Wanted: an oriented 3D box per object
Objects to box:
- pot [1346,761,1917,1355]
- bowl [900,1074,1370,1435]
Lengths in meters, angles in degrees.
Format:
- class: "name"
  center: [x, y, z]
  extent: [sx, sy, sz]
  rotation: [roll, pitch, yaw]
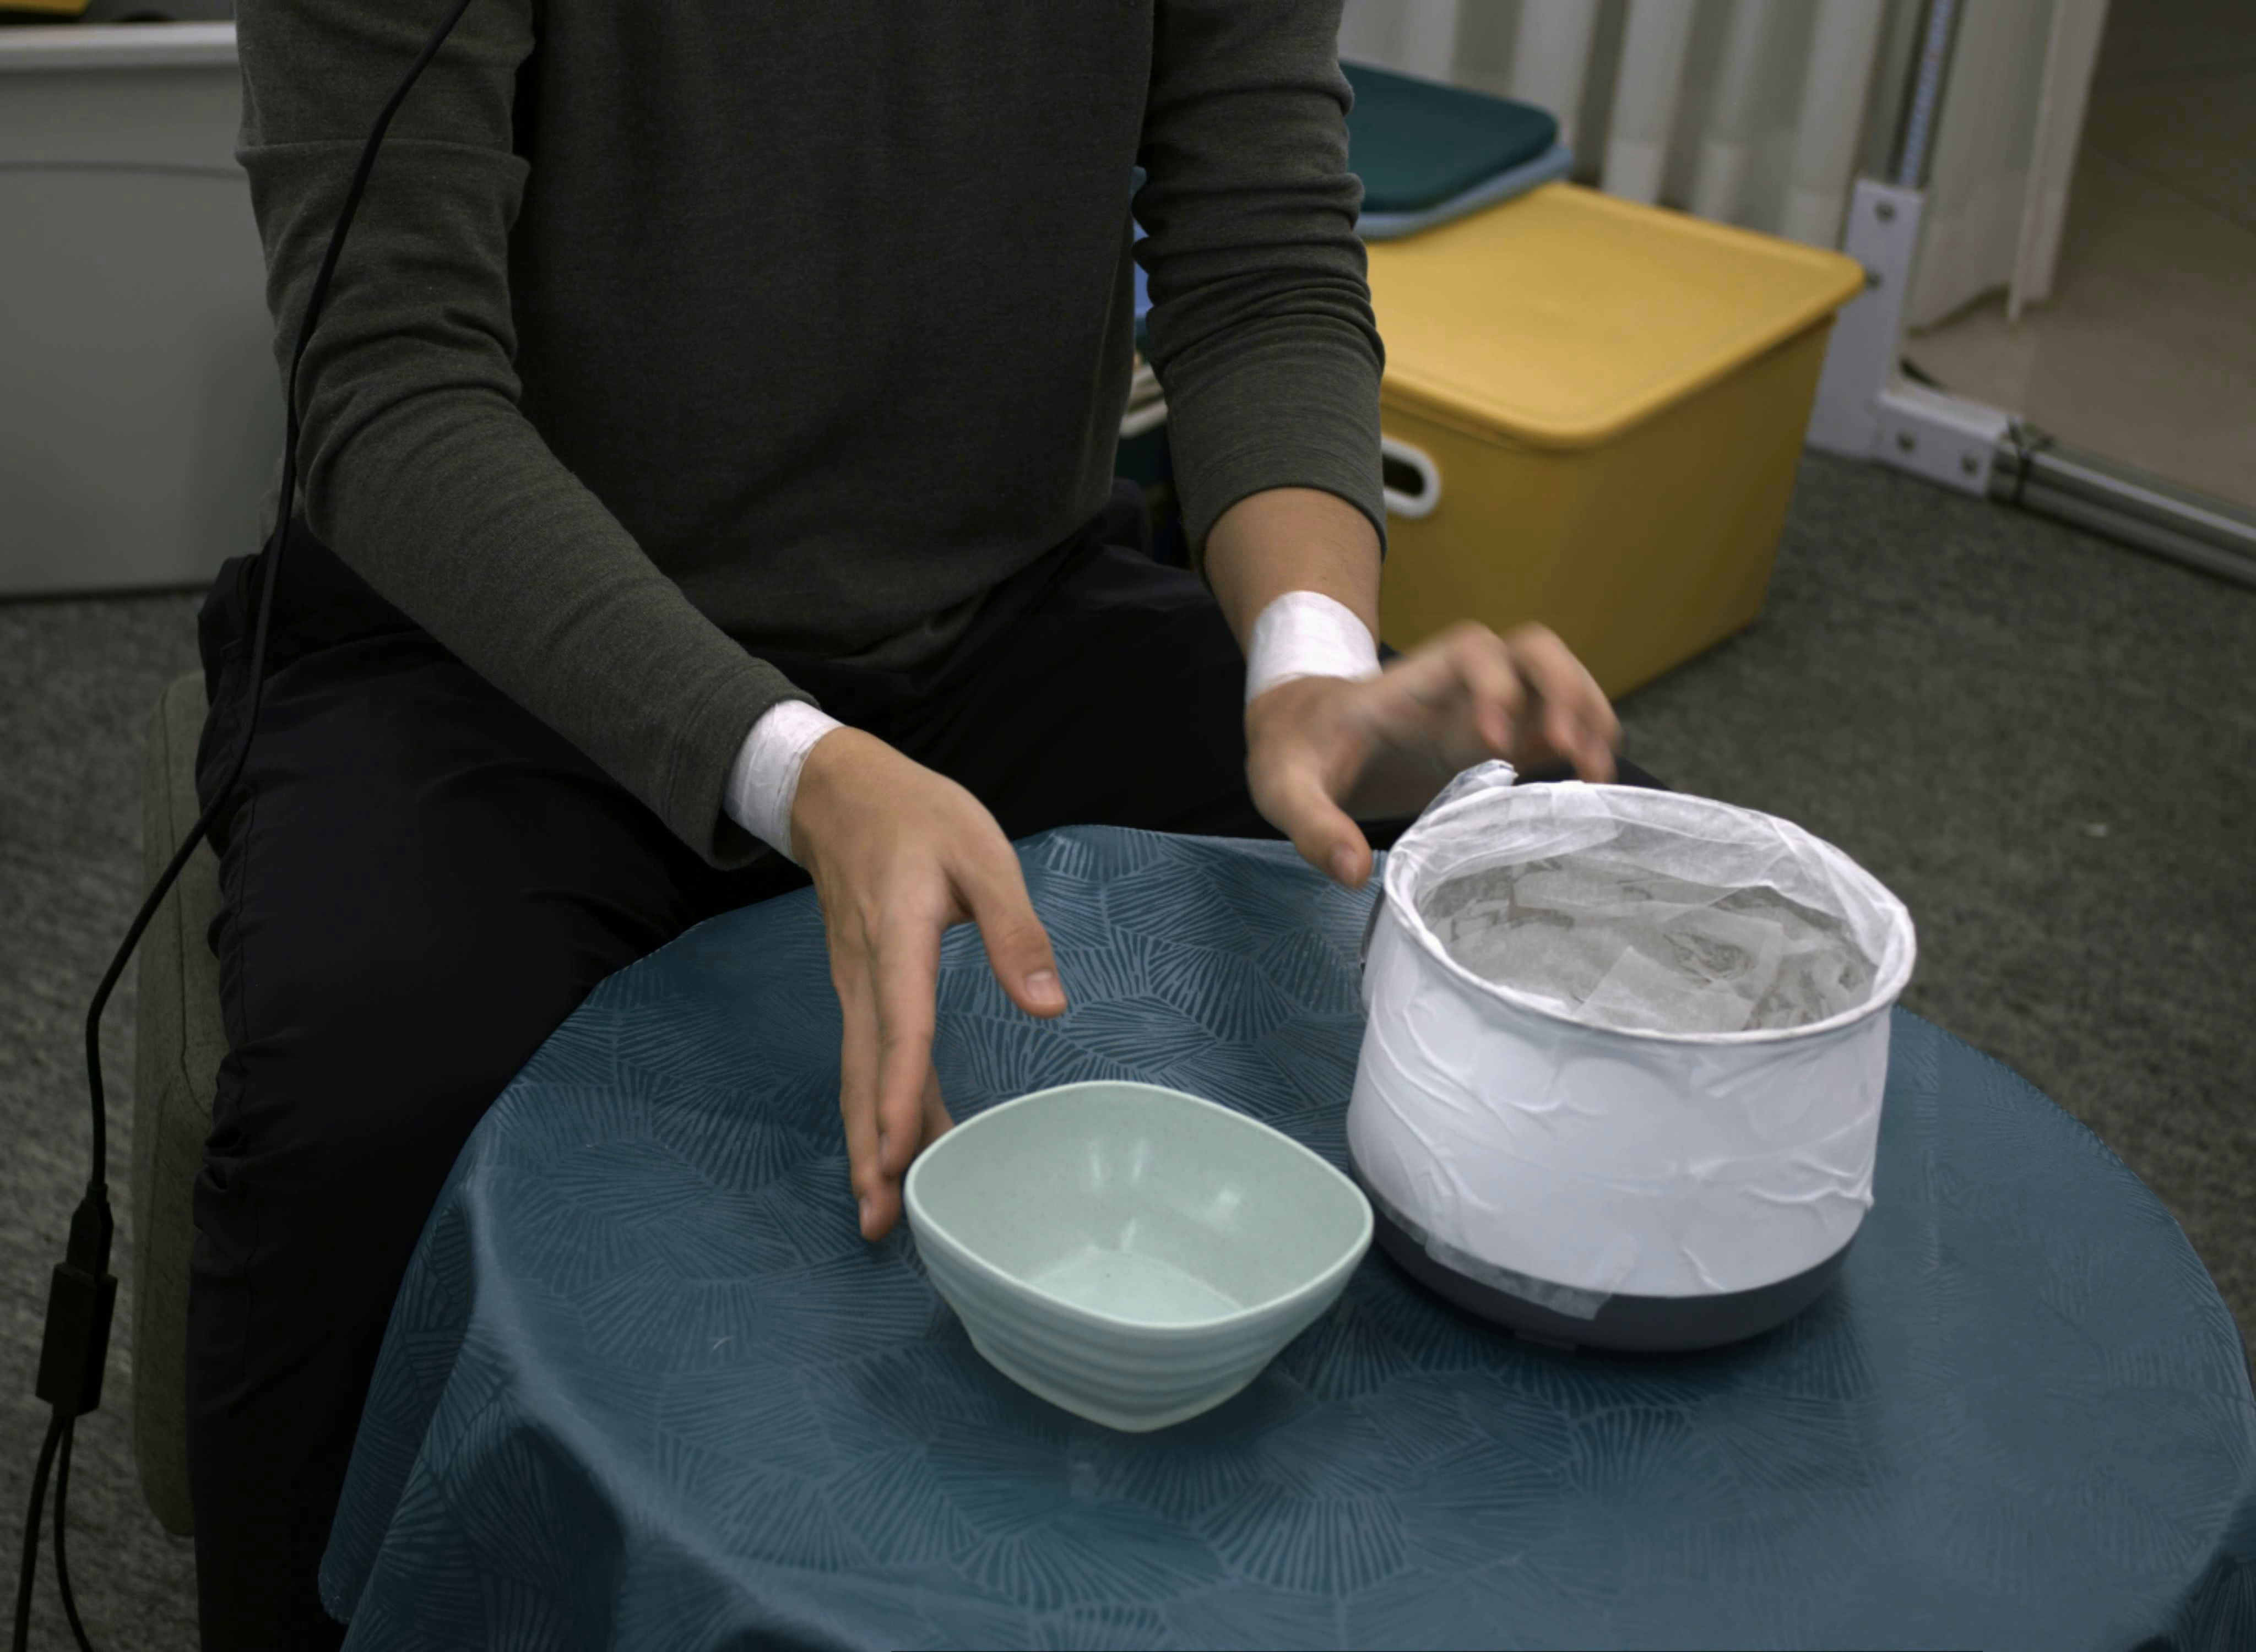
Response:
- class: "pot"
  center: [0.151, 0.071, 1.796]
  extent: [0.177, 0.136, 0.236]
  rotation: [-9, 30, -28]
- class: "bowl"
  center: [-0.001, 0.143, 1.704]
  extent: [0.151, 0.058, 0.152]
  rotation: [6, 28, -4]
